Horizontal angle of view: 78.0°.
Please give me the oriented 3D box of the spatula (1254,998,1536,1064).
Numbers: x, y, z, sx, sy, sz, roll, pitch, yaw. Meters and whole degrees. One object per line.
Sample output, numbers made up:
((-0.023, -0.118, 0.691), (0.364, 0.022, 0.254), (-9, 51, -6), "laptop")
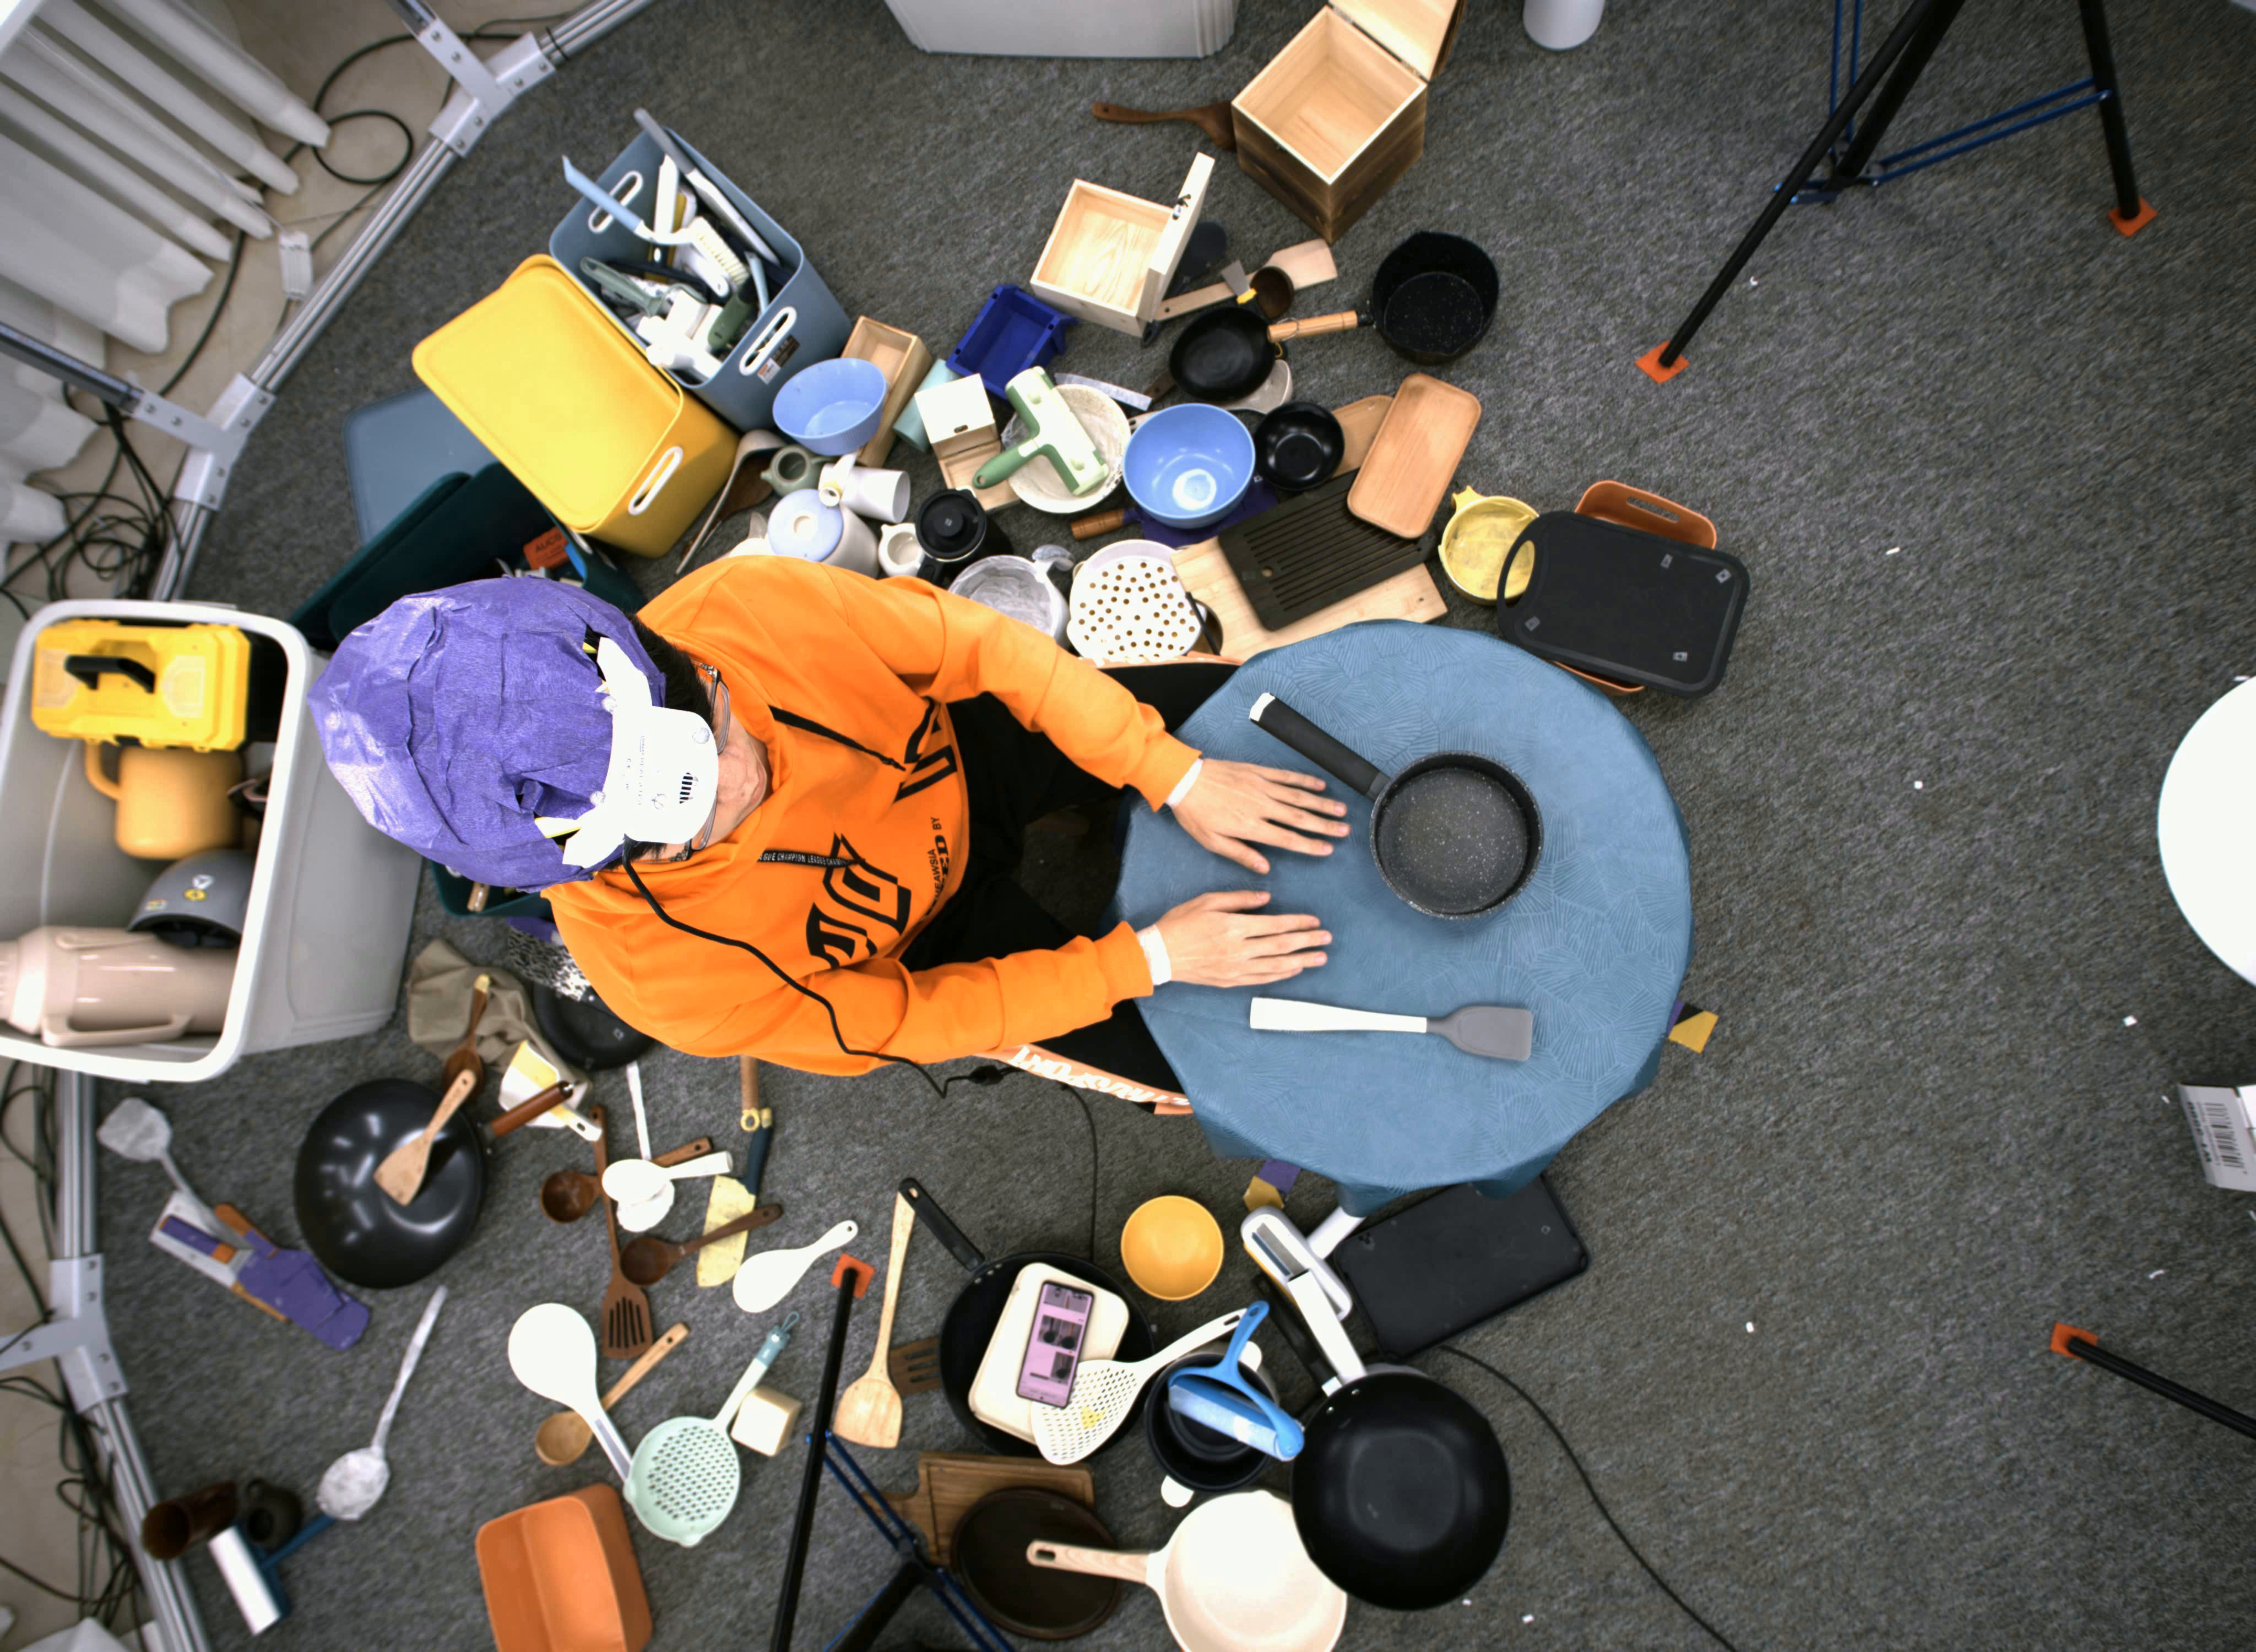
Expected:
((0.275, 0.204, 1.436), (0.288, 0.032, 0.058), (3, 82, 11), "spatula")

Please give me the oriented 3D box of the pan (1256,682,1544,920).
((0.272, -0.036, 1.423), (0.328, 0.086, 0.172), (37, 92, 9), "pan")
